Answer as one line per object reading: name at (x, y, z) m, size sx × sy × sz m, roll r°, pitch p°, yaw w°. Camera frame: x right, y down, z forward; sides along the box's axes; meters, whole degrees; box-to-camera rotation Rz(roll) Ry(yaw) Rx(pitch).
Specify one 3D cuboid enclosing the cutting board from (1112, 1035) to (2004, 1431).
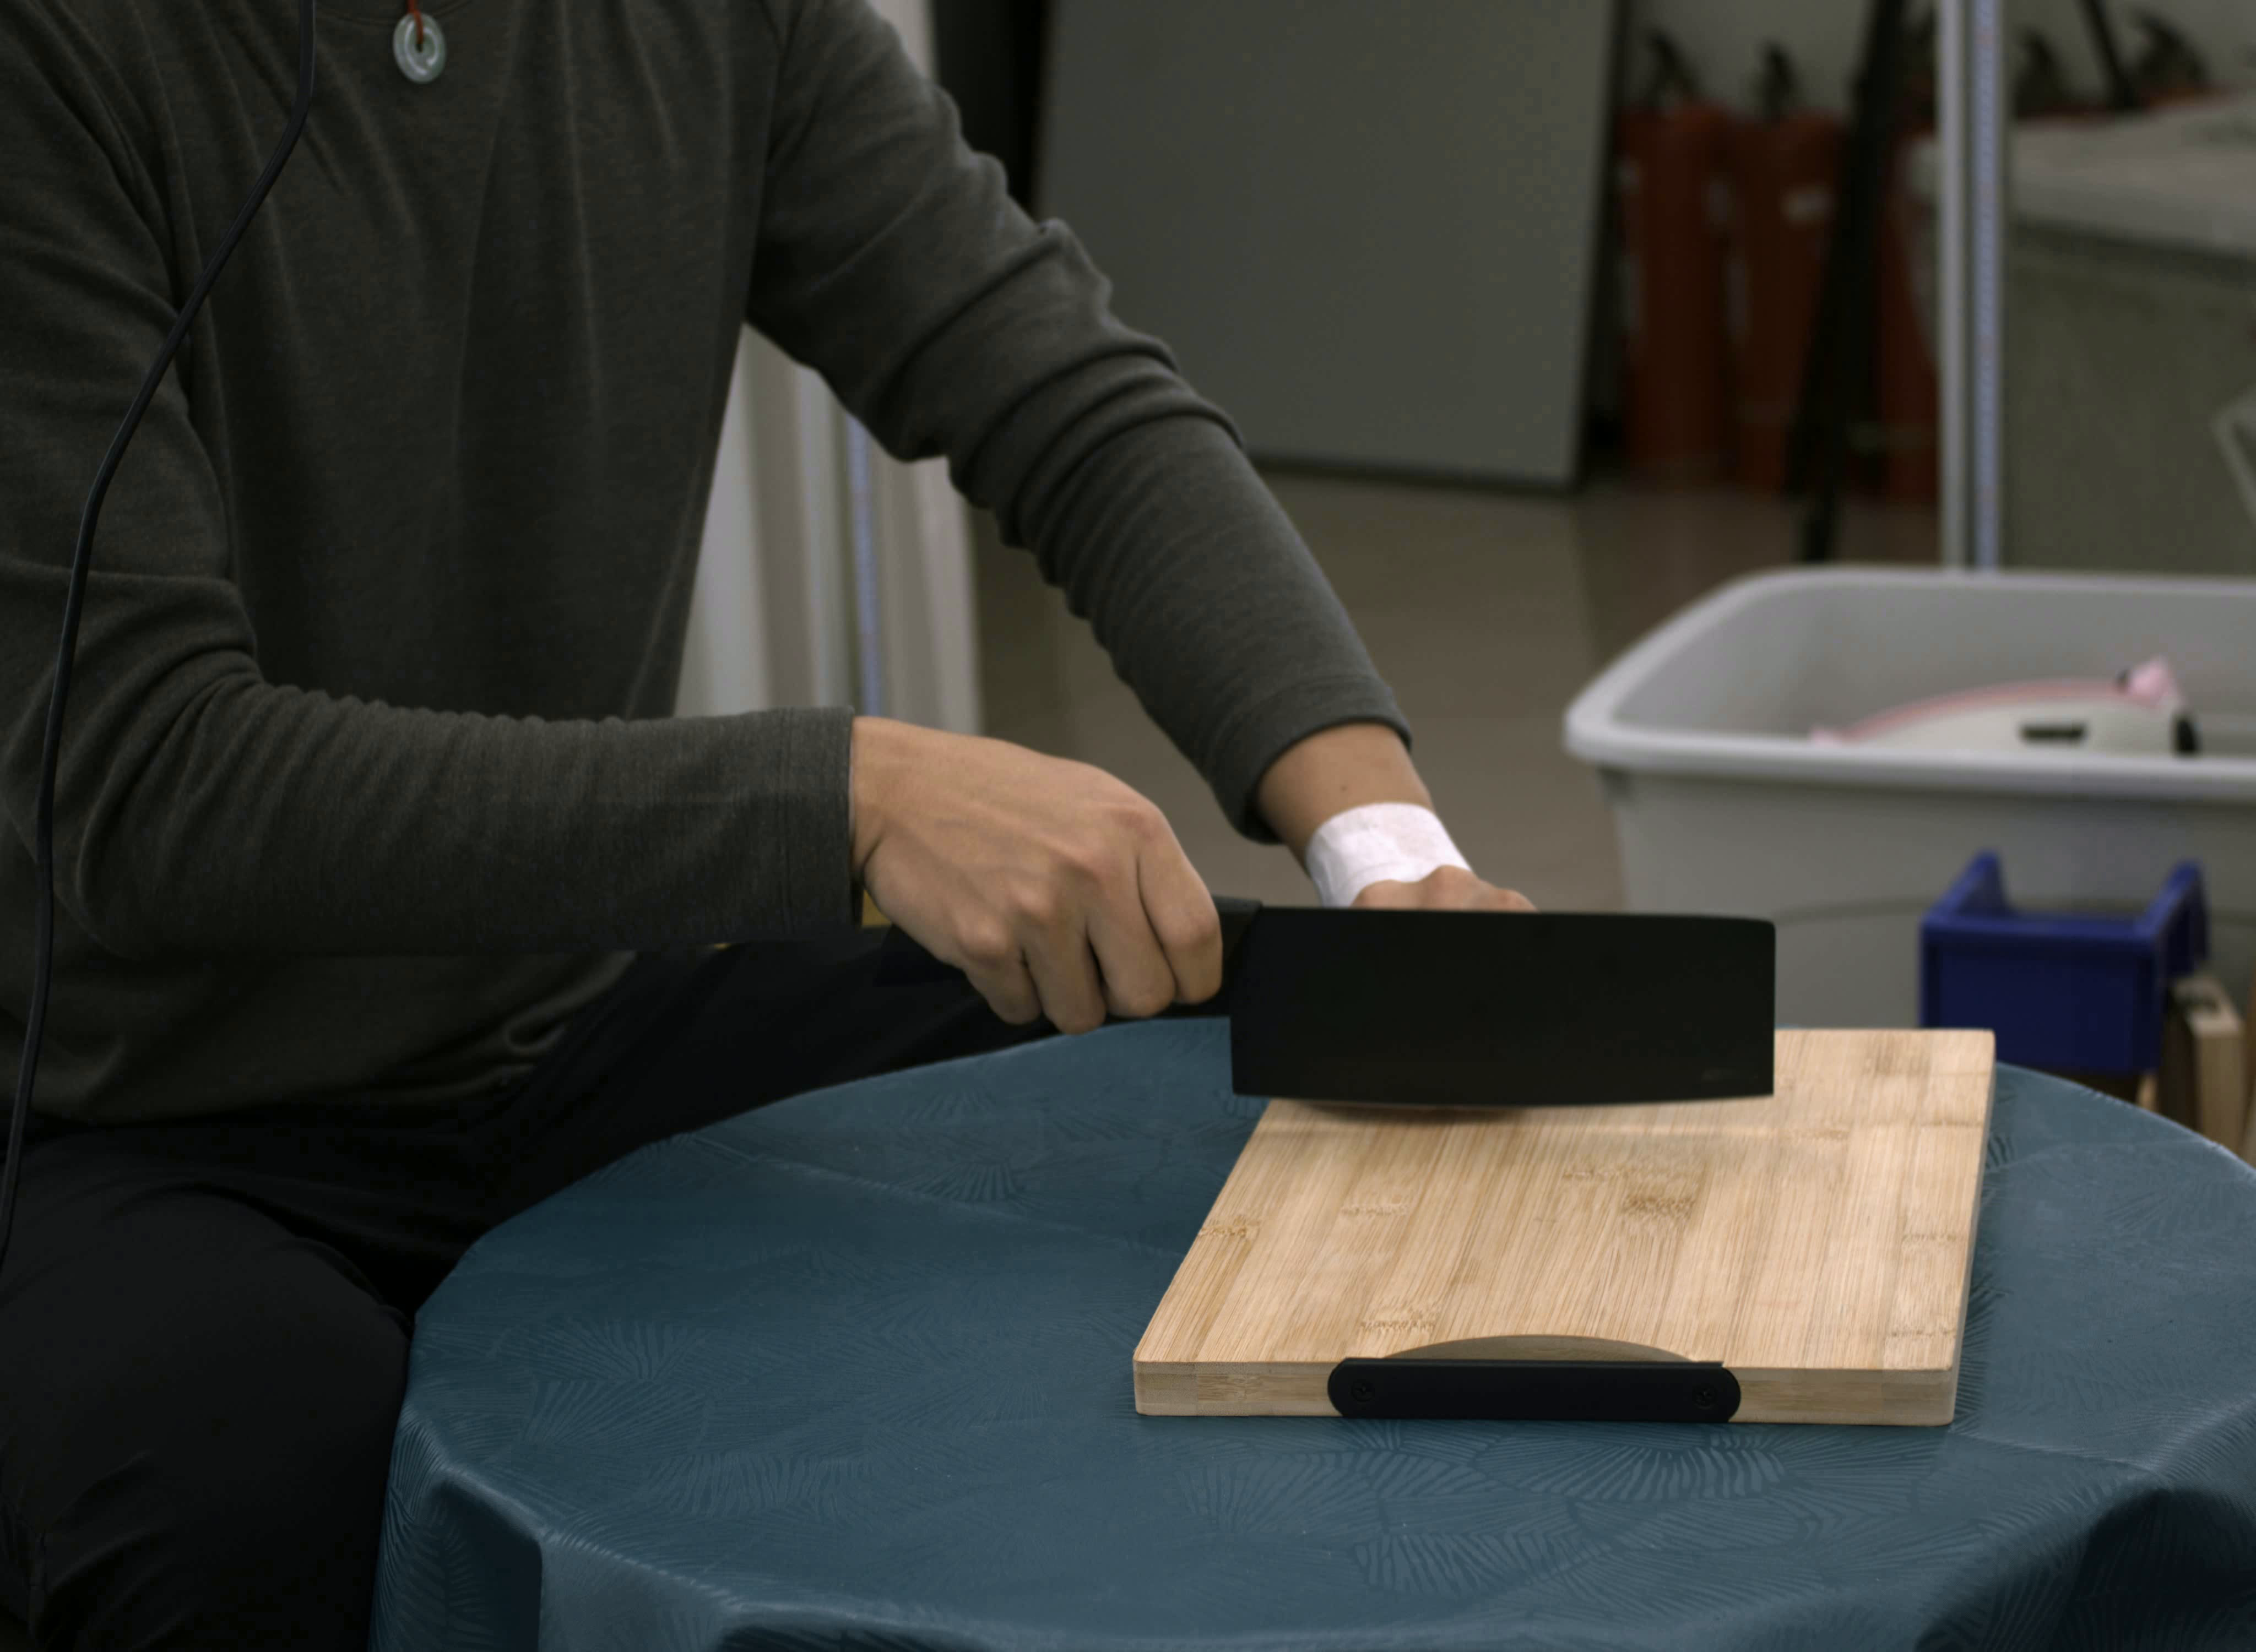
cutting board at (0.147, 0.123, 1.691) m, size 0.249 × 0.024 × 0.347 m, roll -2°, pitch 13°, yaw 12°

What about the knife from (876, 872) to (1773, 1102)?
knife at (0.063, 0.051, 1.761) m, size 0.300 × 0.082 × 0.020 m, roll 5°, pitch 9°, yaw 13°
